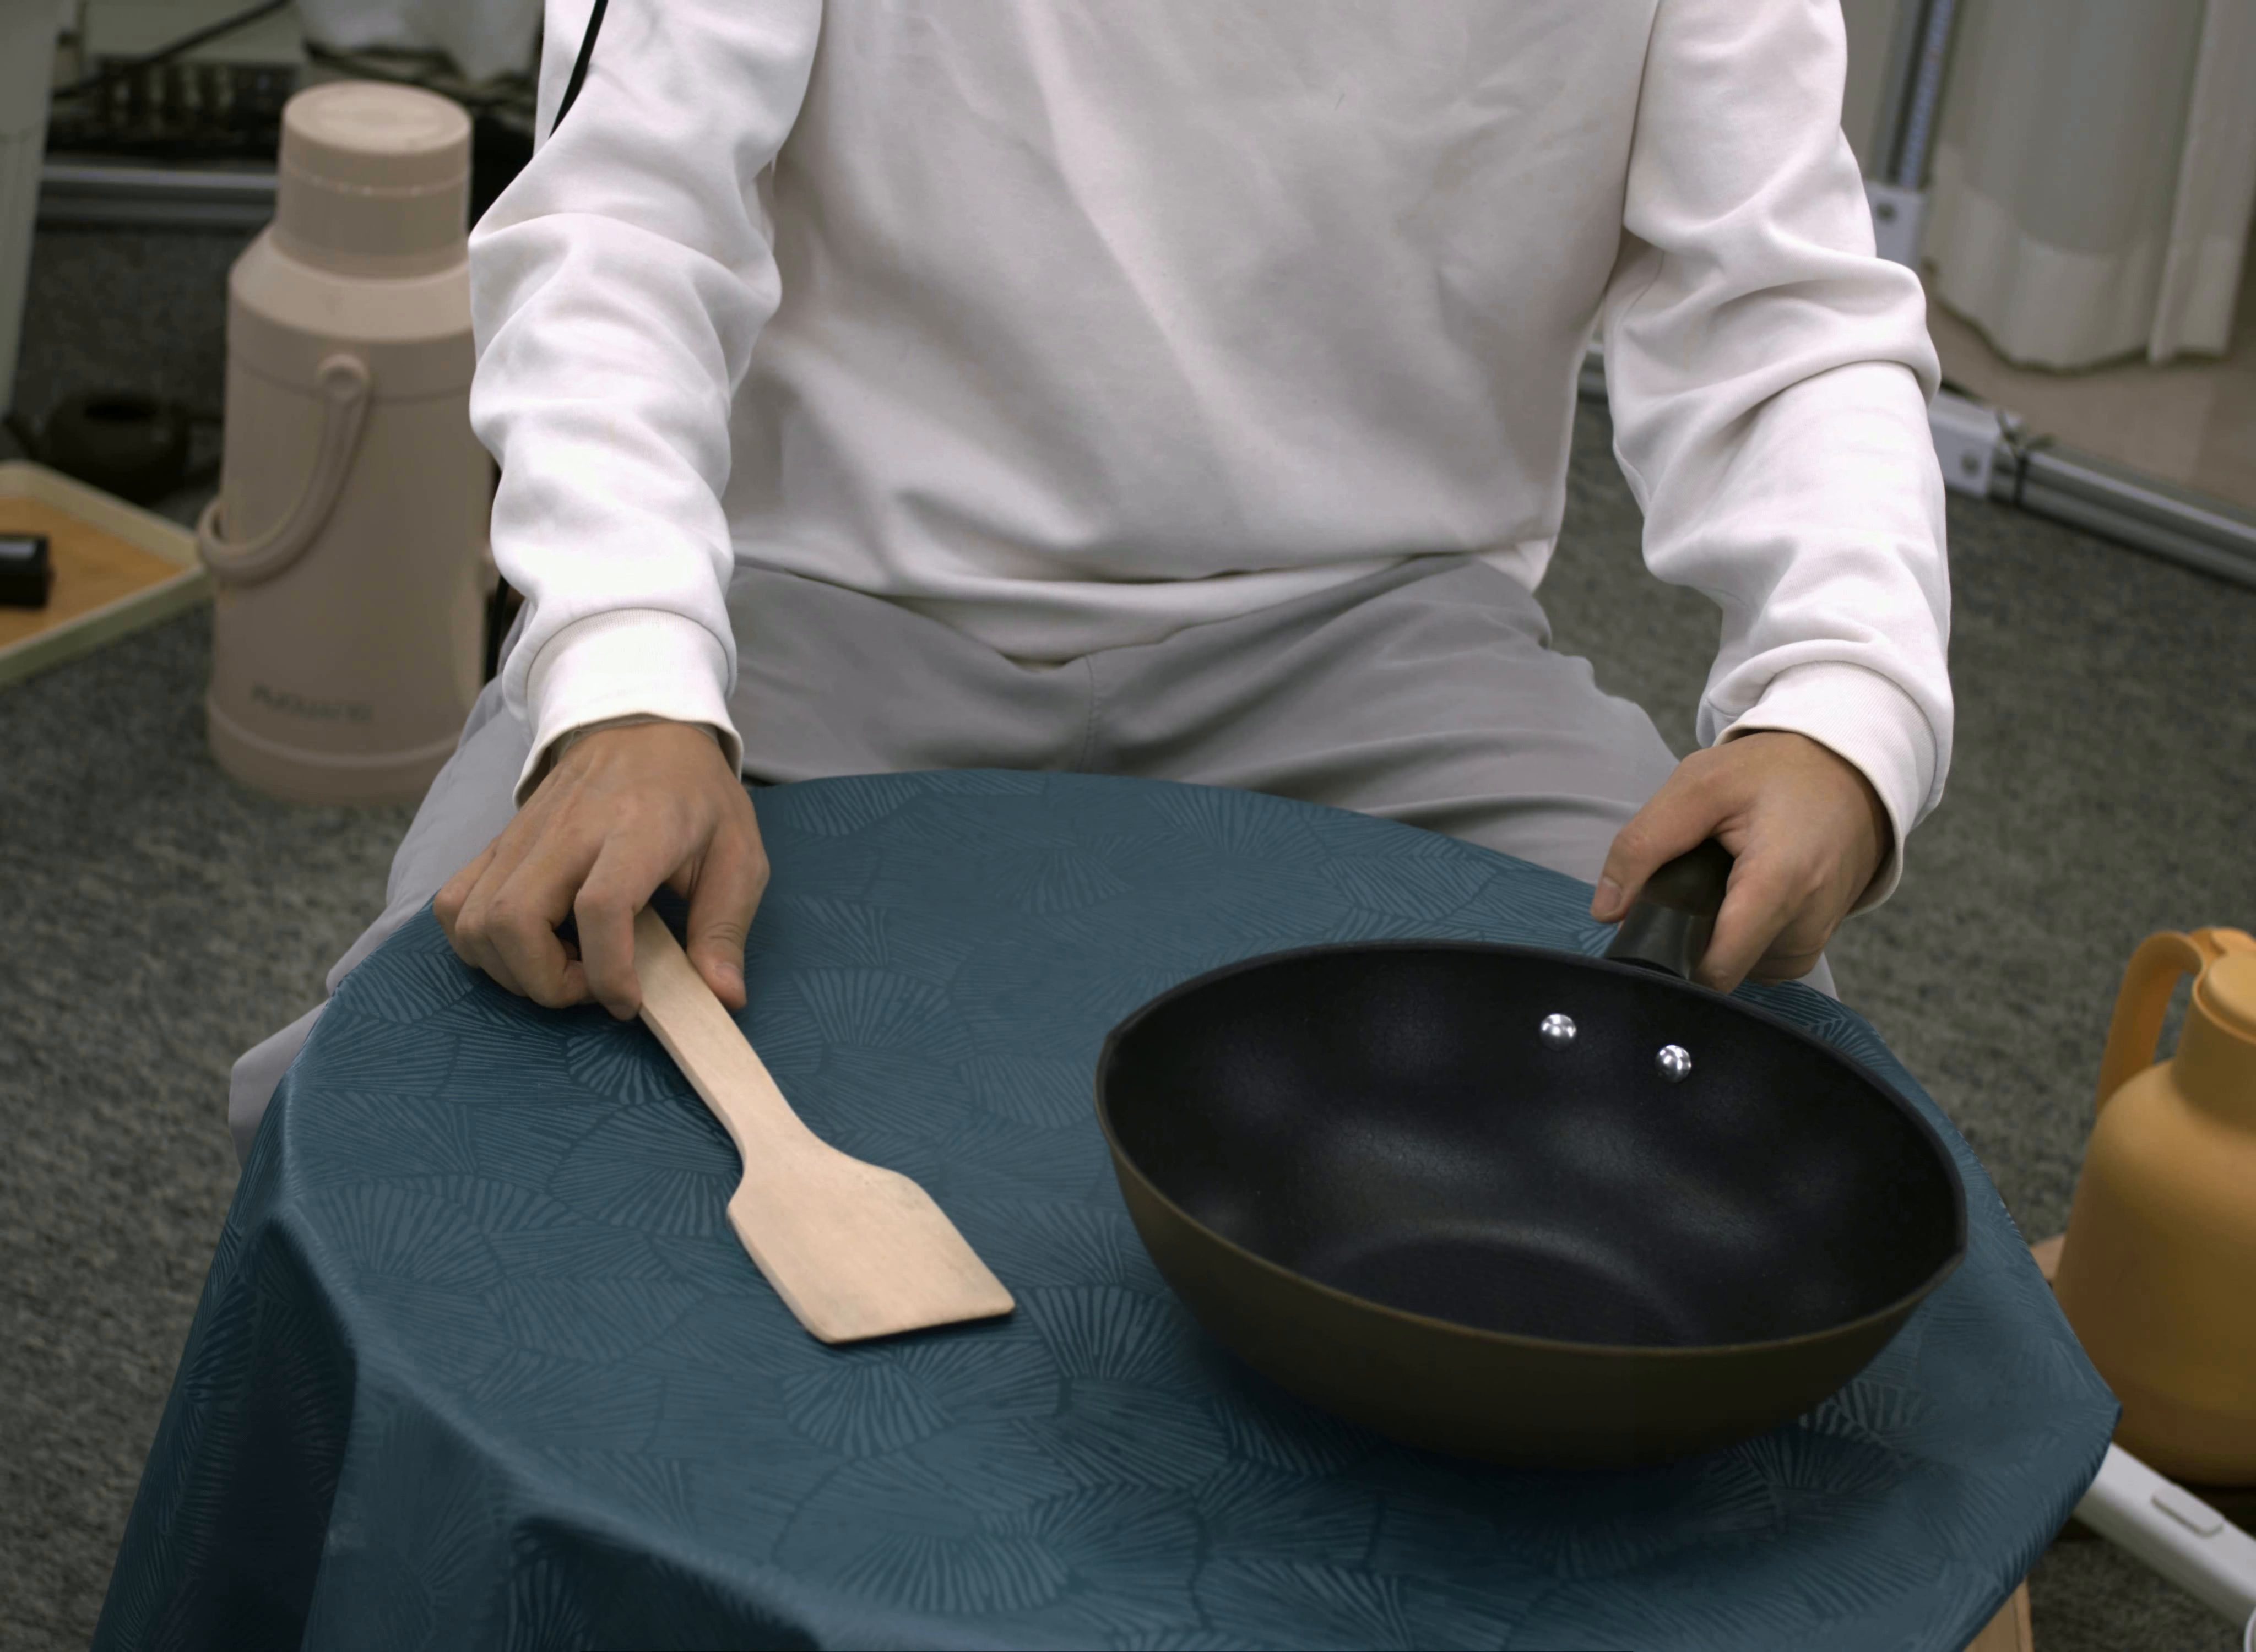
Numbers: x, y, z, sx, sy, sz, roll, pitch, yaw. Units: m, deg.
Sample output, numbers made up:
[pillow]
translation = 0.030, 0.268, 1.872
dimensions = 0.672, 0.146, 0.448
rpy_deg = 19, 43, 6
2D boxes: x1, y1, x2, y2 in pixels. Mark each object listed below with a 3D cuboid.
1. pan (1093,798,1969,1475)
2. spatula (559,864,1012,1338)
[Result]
[pan]
translation = 0.154, 0.101, 1.799
dimensions = 0.288, 0.086, 0.463
rpy_deg = 14, 24, 15
[spatula]
translation = -0.132, 0.089, 1.822
dimensions = 0.072, 0.010, 0.296
rpy_deg = -8, 34, -26
